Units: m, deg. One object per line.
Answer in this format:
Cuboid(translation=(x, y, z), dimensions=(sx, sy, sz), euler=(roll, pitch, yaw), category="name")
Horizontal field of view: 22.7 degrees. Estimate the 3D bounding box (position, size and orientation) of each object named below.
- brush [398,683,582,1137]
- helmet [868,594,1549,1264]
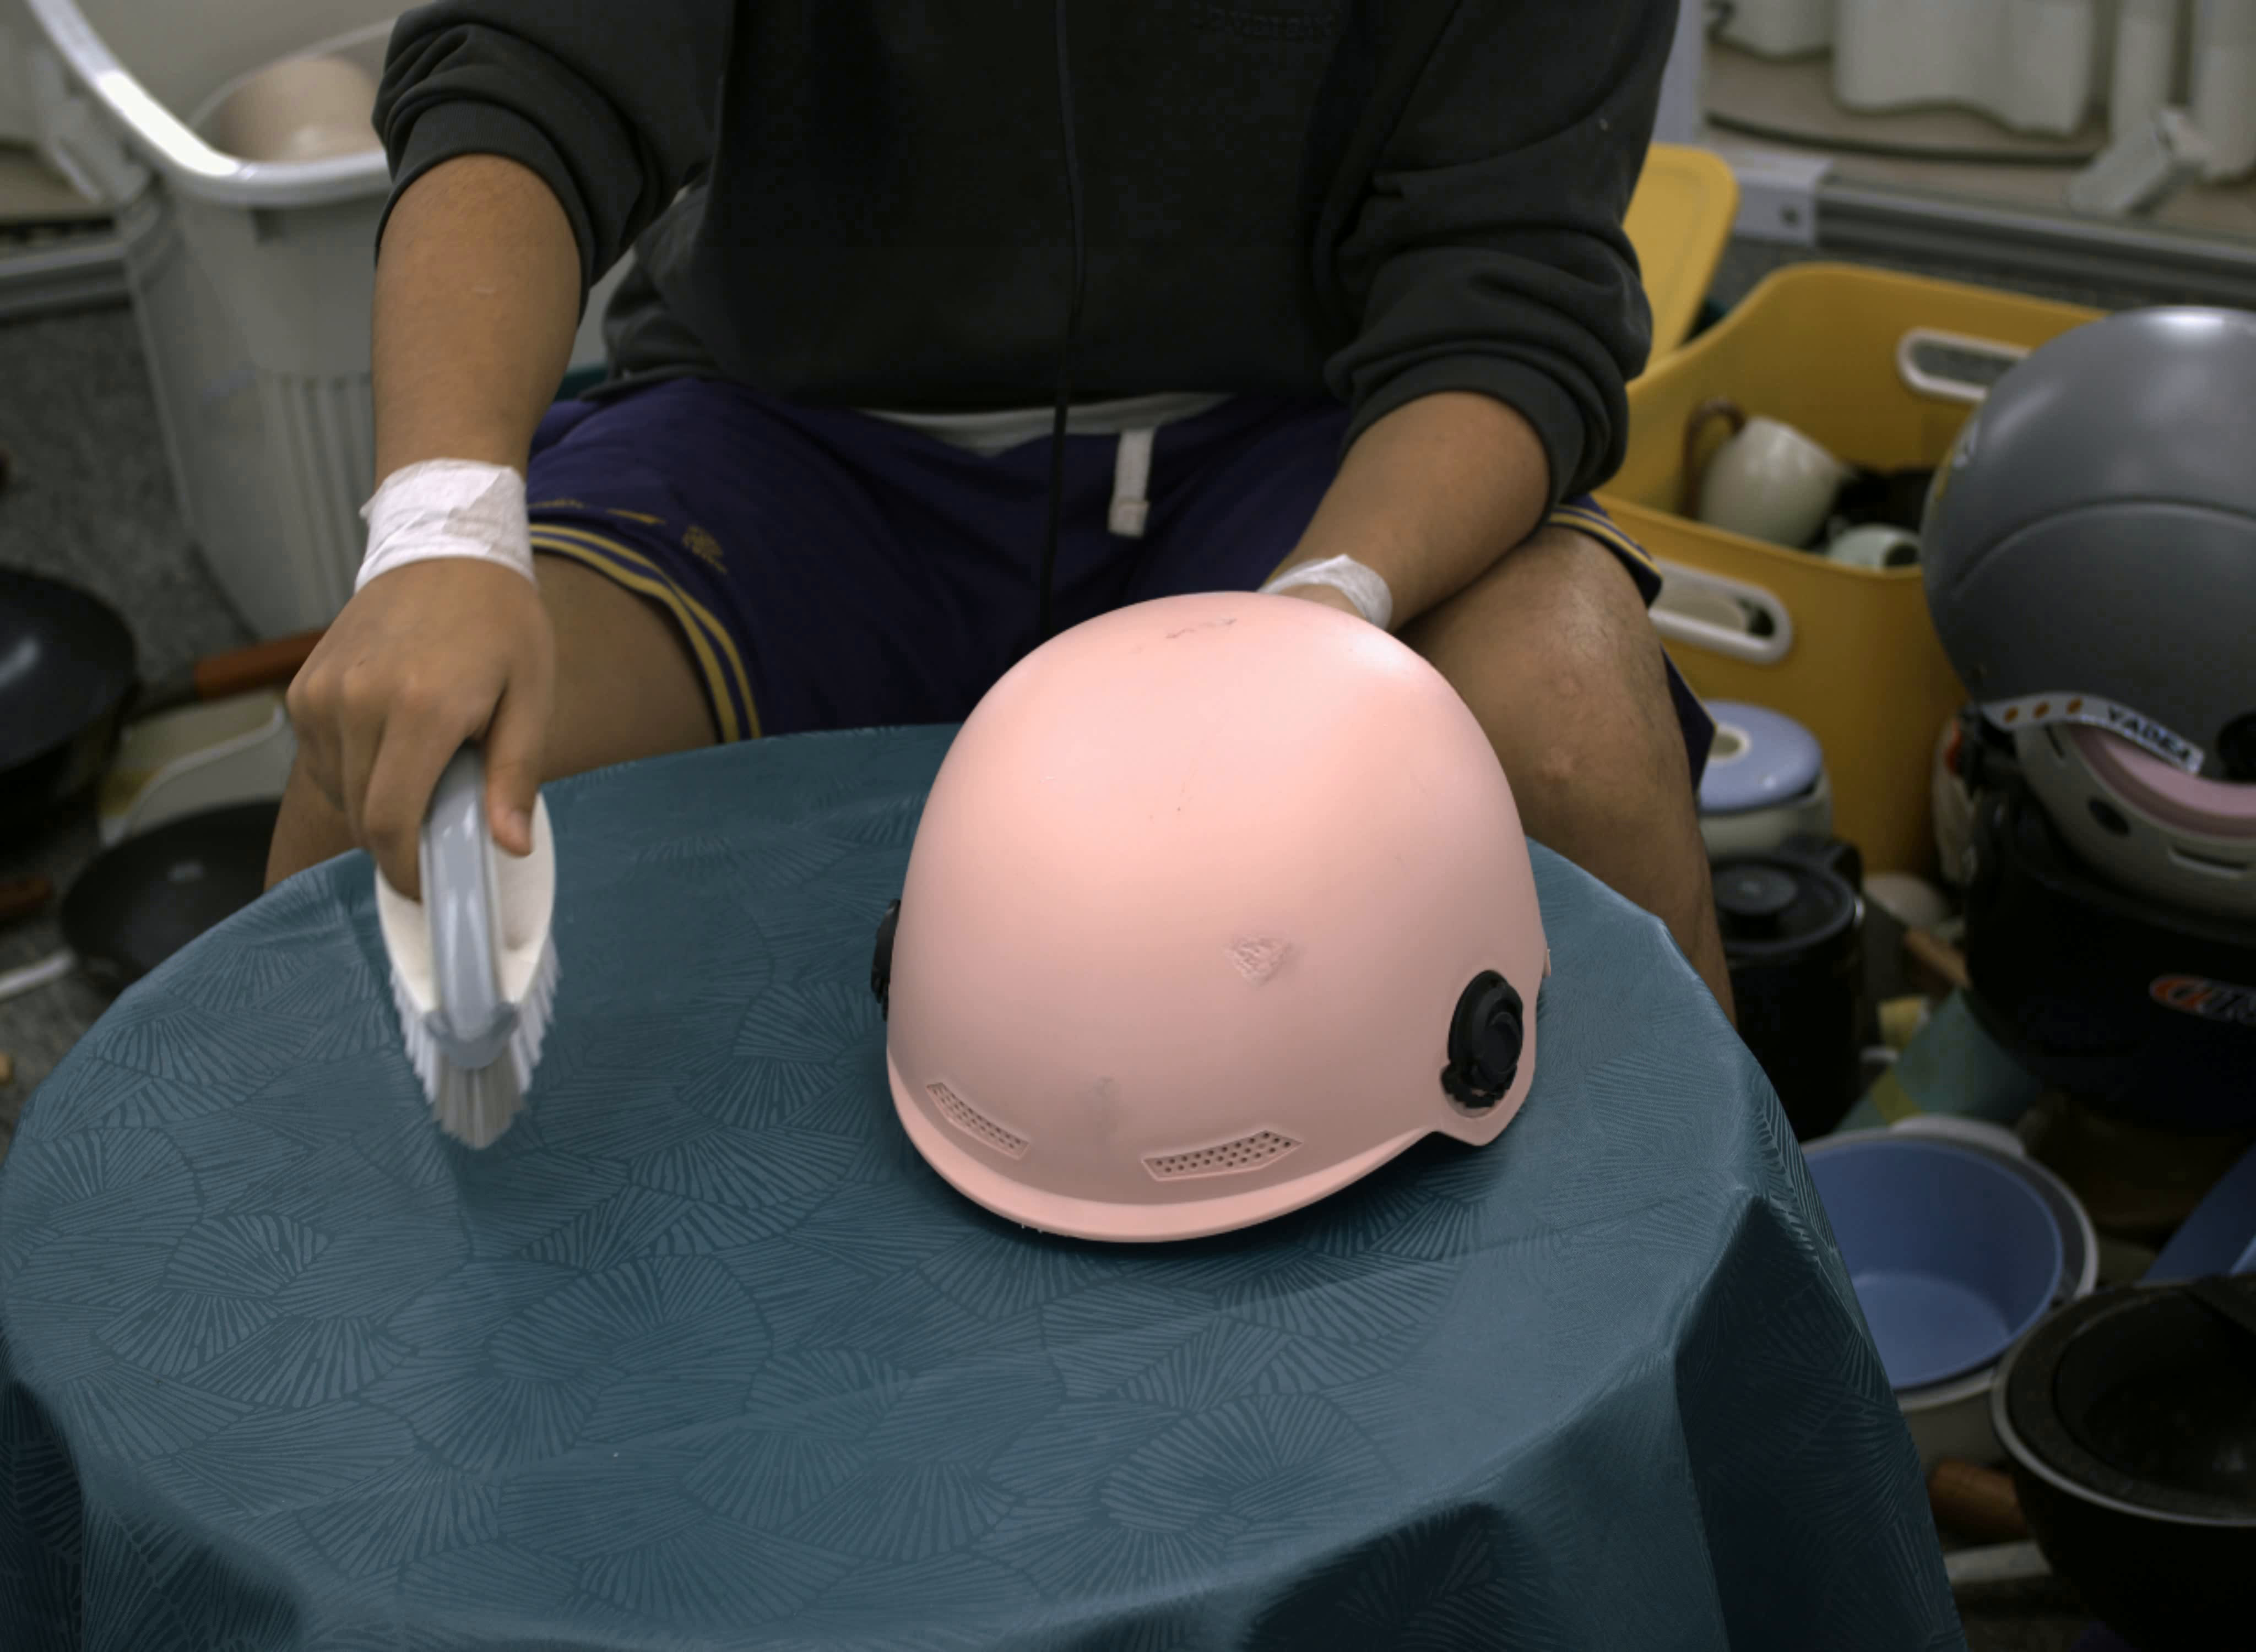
Cuboid(translation=(-0.217, 0.020, 1.895), dimensions=(0.061, 0.093, 0.178), euler=(-5, 35, -3), category="brush")
Cuboid(translation=(0.026, 0.016, 1.903), dimensions=(0.232, 0.157, 0.271), euler=(7, 32, 18), category="helmet")
